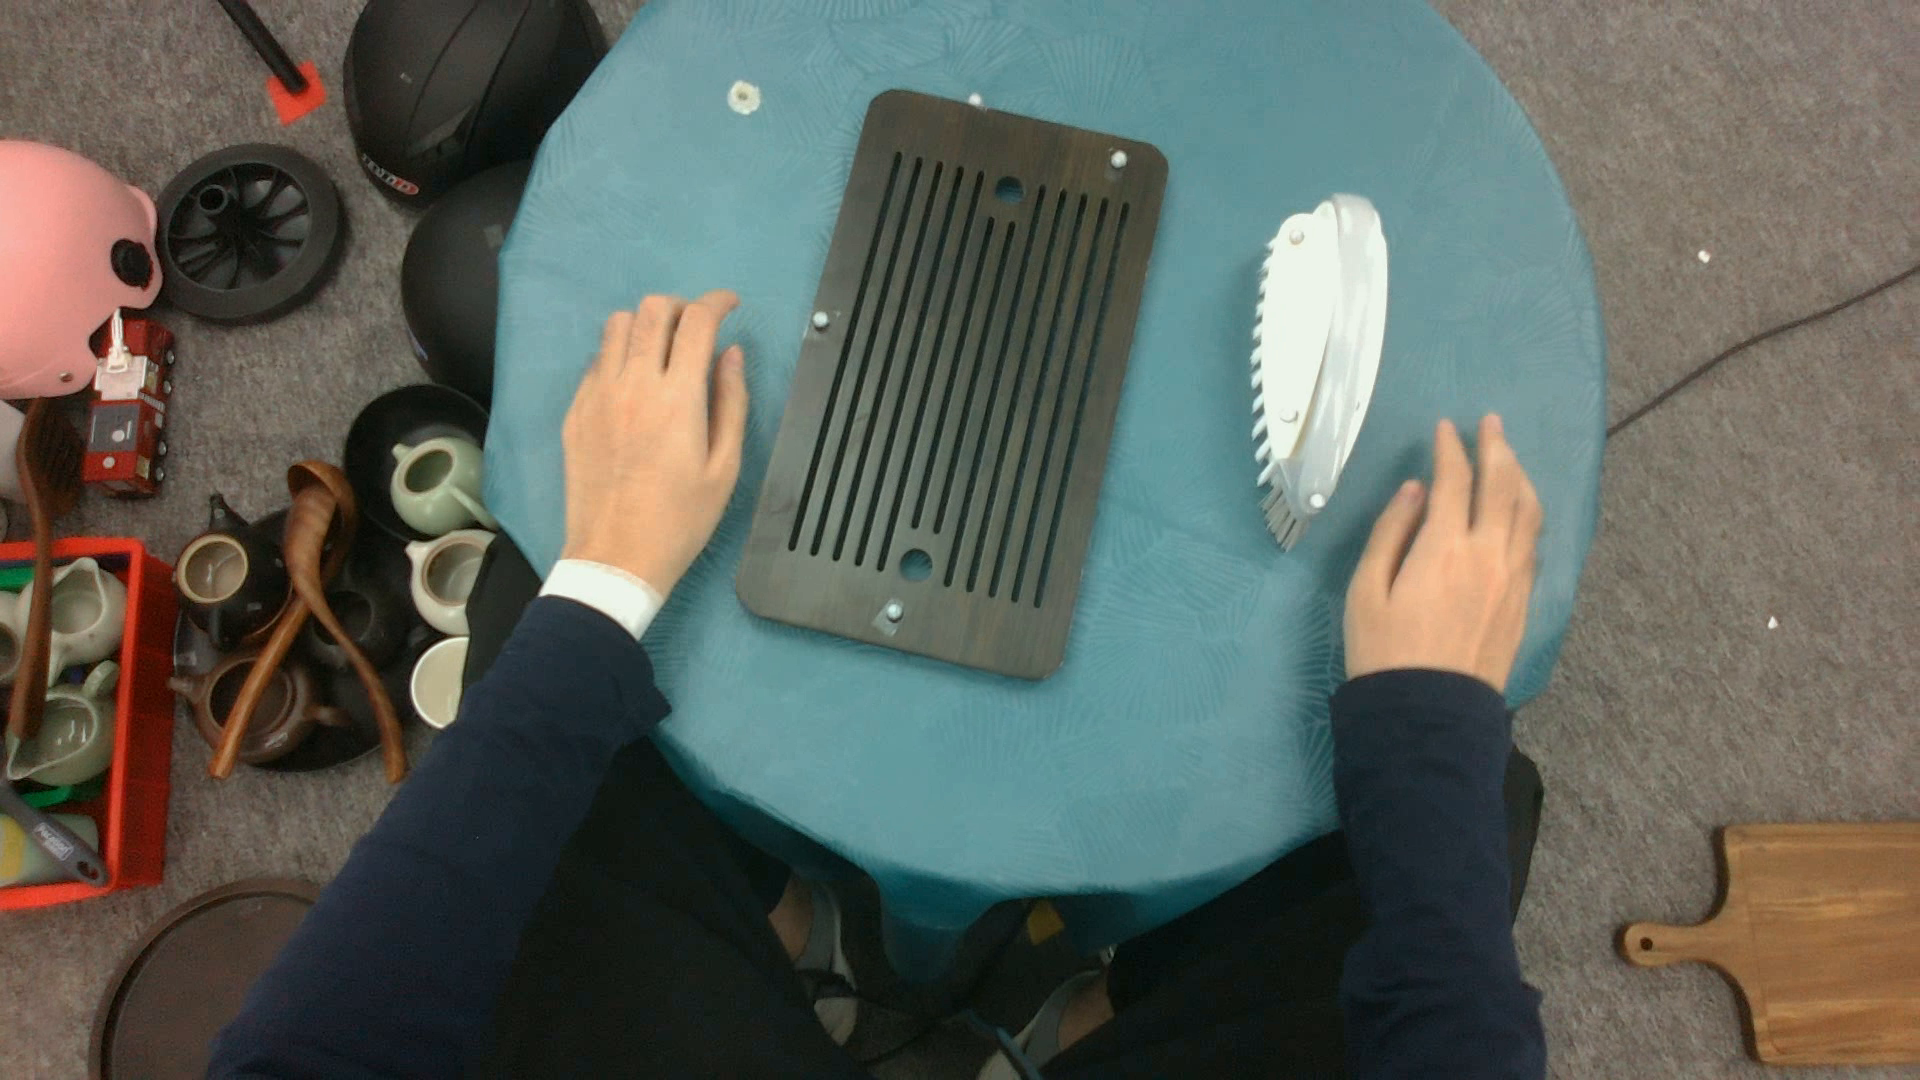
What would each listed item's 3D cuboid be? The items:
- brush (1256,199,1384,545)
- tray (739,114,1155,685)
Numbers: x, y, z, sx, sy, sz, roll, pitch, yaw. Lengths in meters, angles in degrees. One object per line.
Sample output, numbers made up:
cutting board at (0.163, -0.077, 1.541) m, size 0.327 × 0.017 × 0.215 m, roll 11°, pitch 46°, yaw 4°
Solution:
brush at (0.187, -0.091, 0.708) m, size 0.061 × 0.094 × 0.176 m, roll 7°, pitch 76°, yaw 3°
tray at (-0.002, -0.083, 0.742) m, size 0.170 × 0.018 × 0.307 m, roll 11°, pitch 74°, yaw 3°
